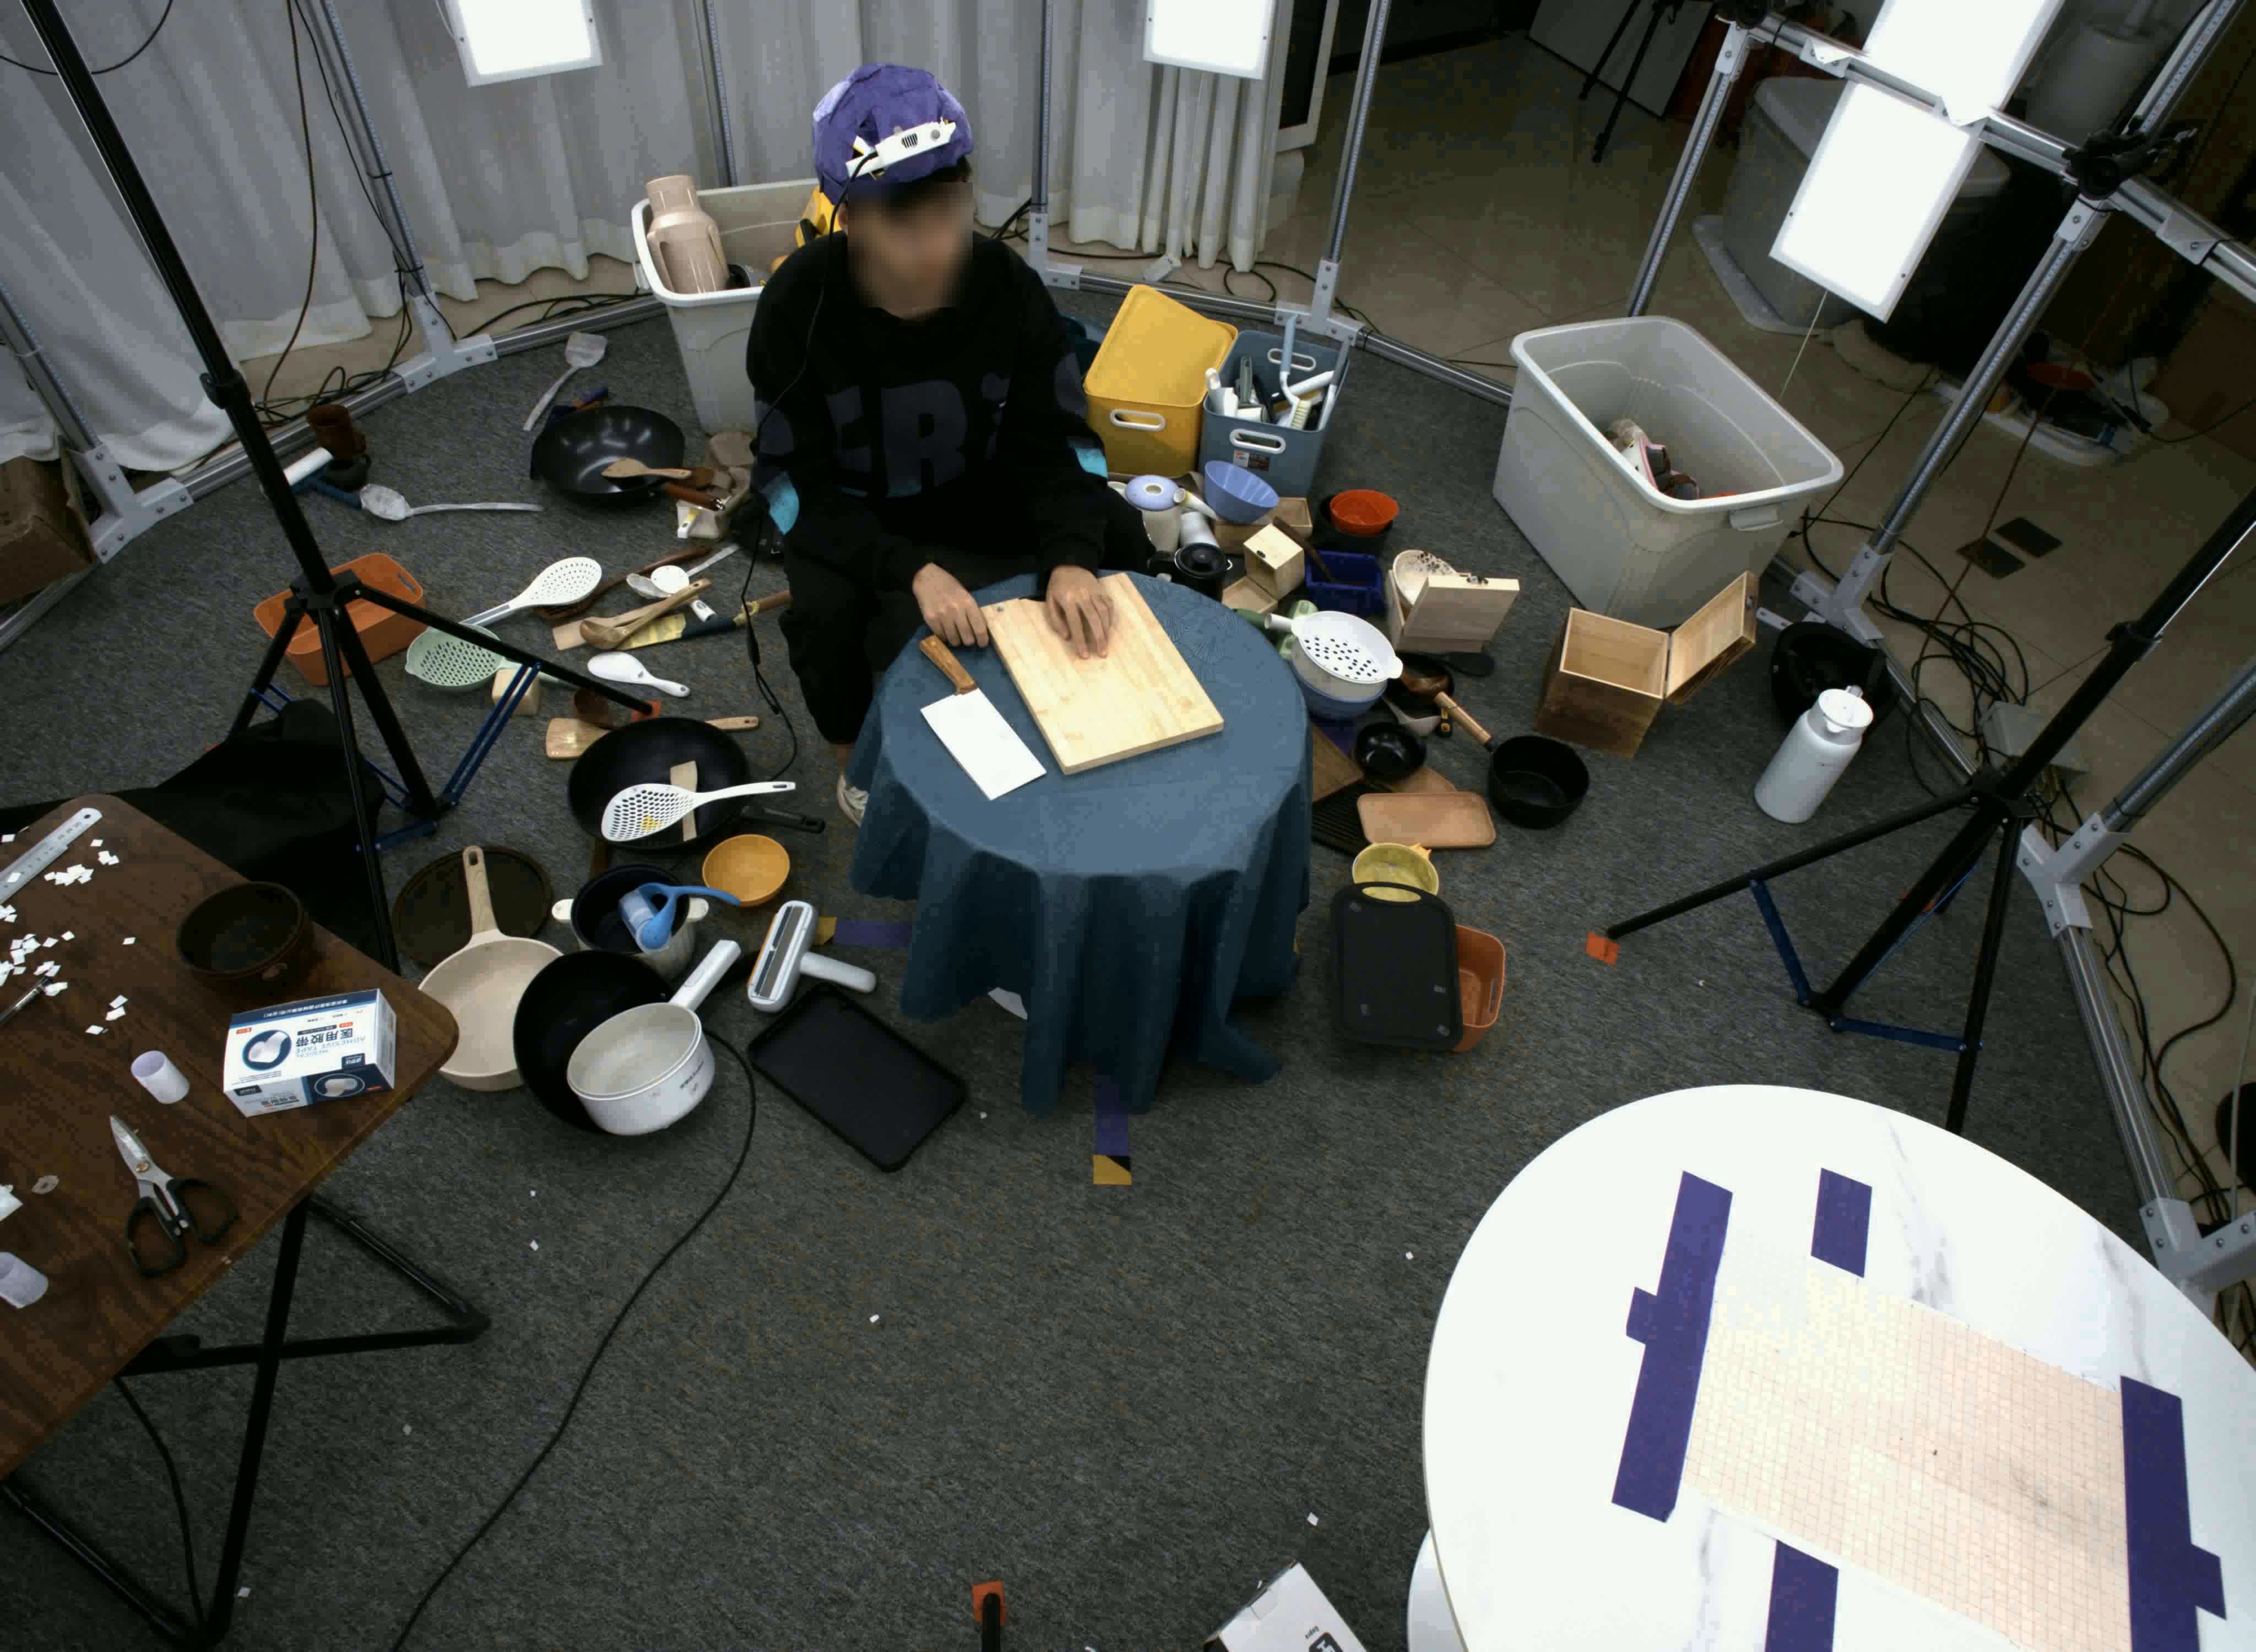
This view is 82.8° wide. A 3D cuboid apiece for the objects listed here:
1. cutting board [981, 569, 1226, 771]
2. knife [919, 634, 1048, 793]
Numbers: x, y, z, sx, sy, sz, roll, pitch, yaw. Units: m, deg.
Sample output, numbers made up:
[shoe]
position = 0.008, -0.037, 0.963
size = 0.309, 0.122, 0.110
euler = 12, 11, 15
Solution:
[cutting board]
position = -0.041, -0.233, 1.857
size = 0.251, 0.023, 0.356
euler = -17, 53, -18
[knife]
position = -0.225, -0.156, 1.780
size = 0.093, 0.020, 0.312
euler = -27, 57, -20
